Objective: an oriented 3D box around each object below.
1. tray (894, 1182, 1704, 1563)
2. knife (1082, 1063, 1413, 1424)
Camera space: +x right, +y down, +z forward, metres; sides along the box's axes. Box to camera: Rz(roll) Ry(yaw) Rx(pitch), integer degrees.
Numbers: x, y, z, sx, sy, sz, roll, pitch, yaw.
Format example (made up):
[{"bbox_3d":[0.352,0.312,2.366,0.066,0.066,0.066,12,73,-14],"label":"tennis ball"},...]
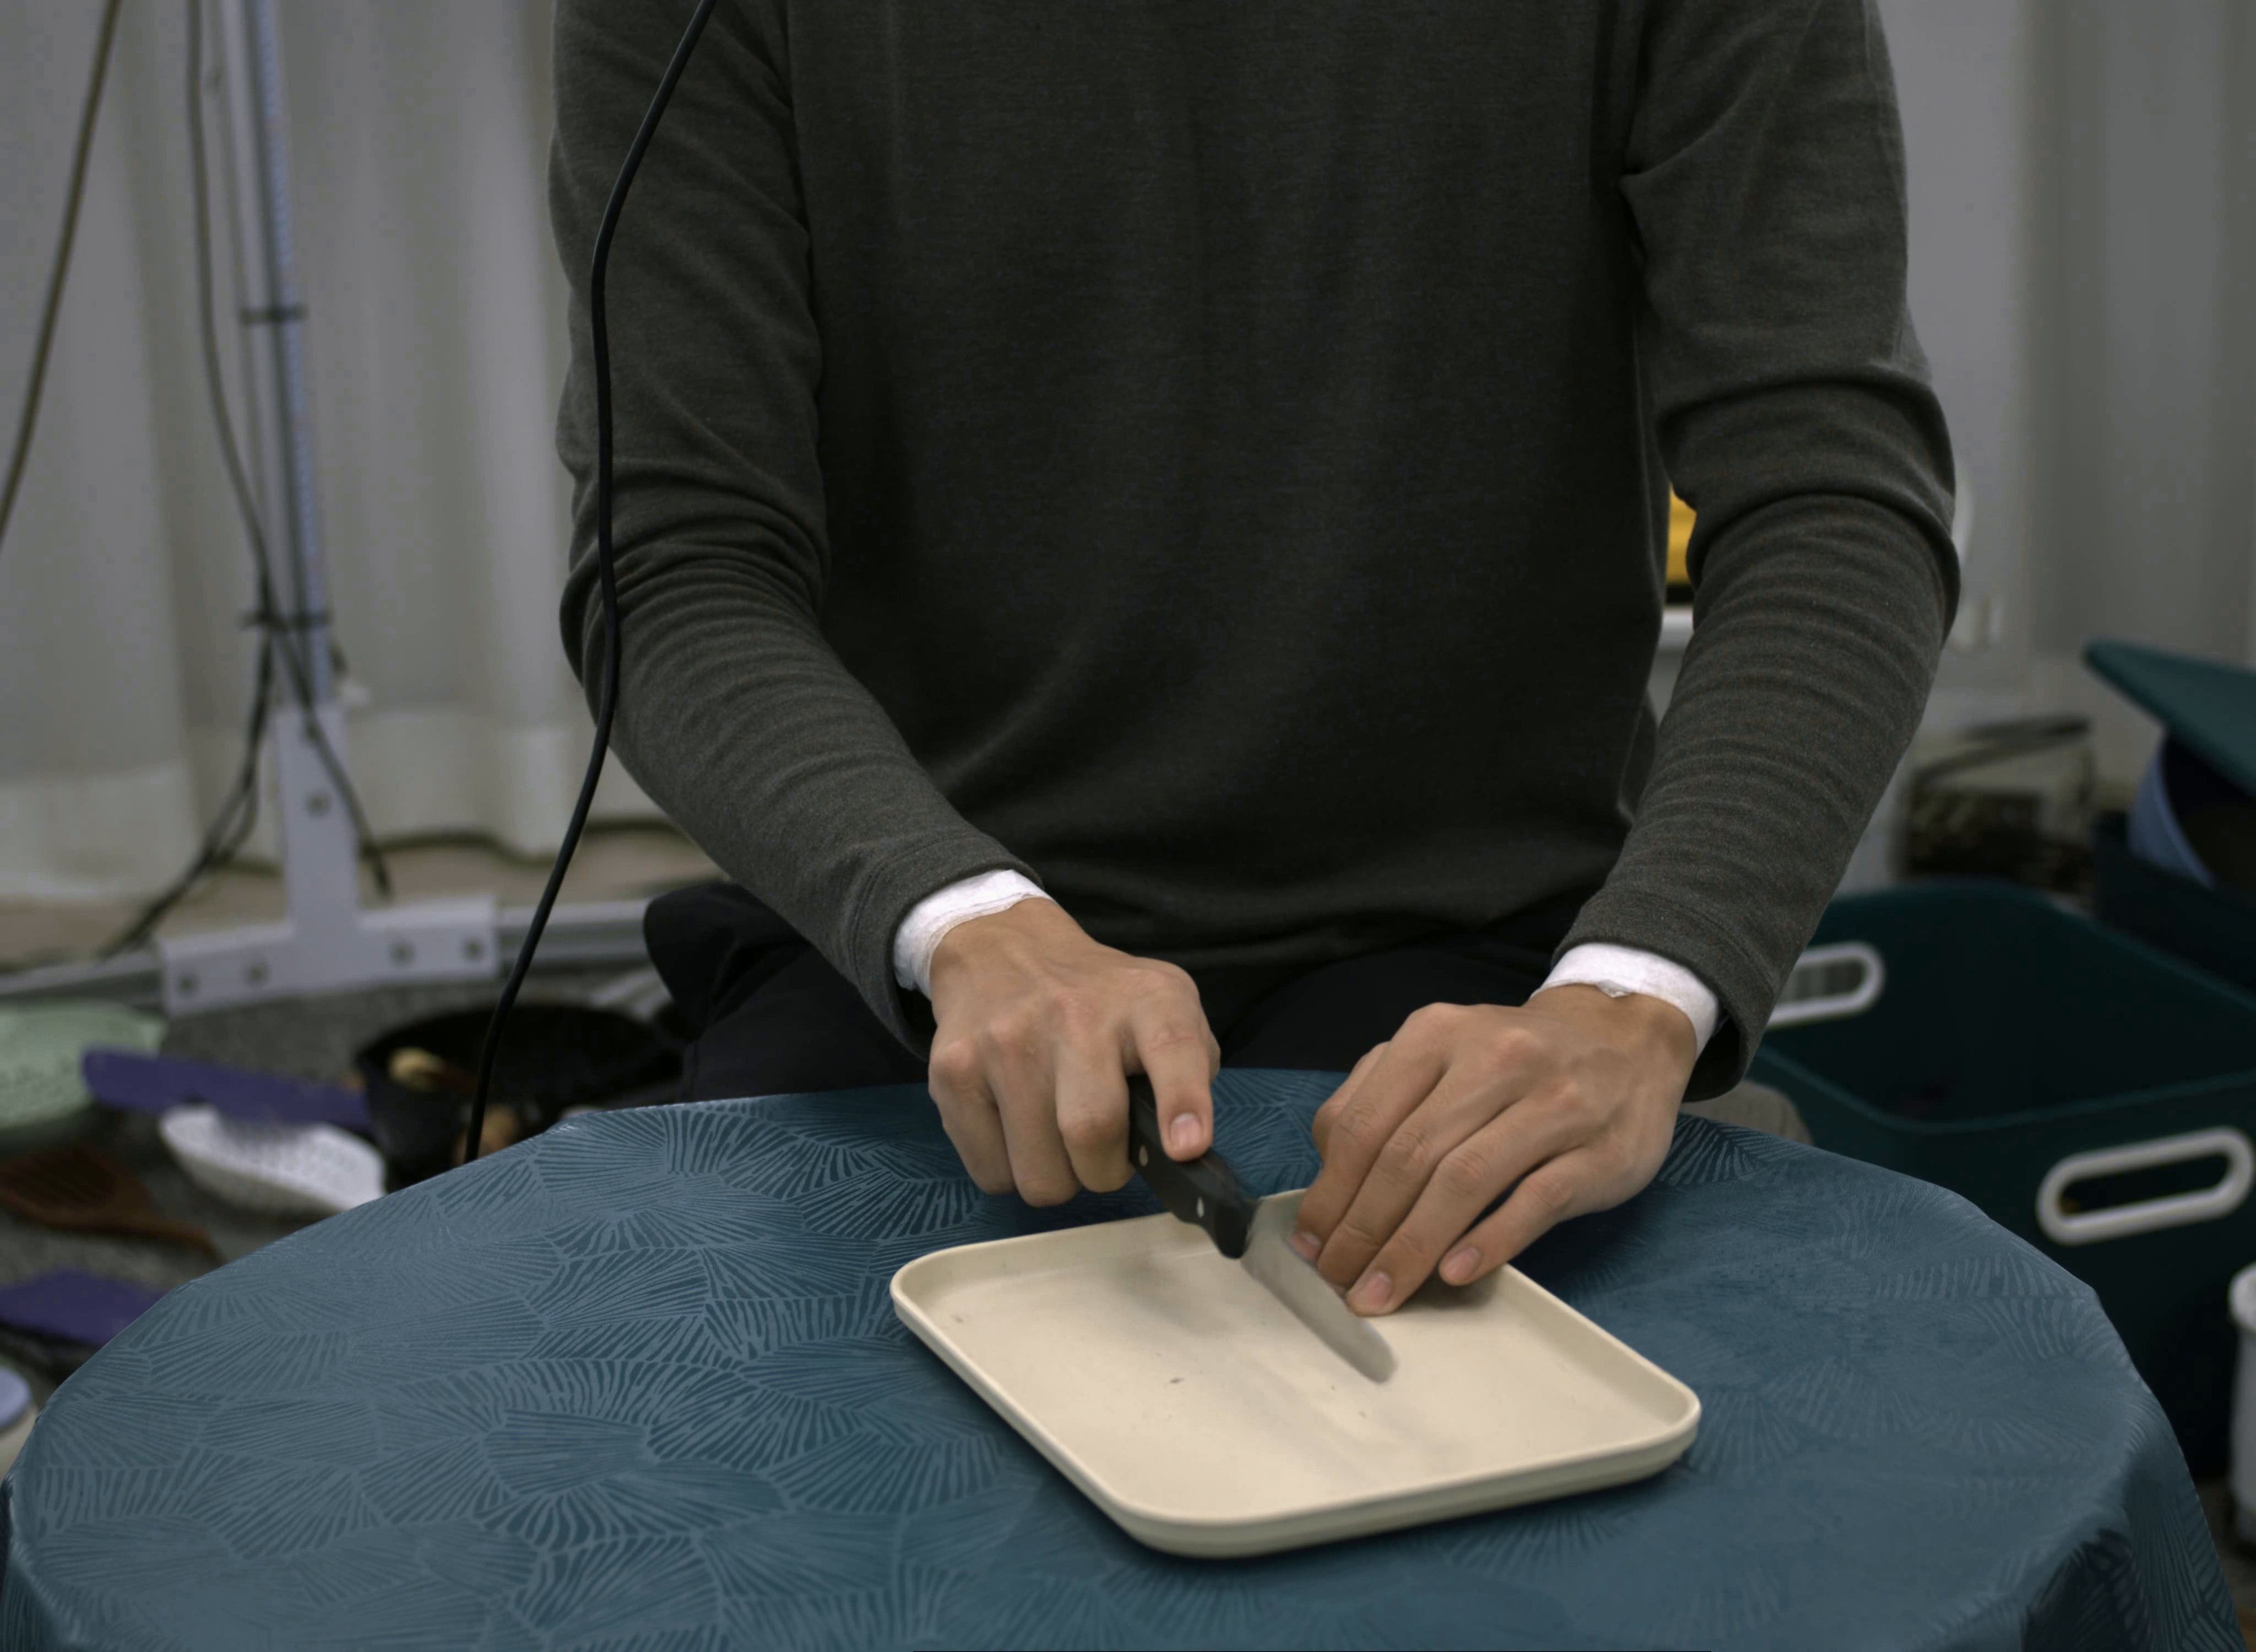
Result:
[{"bbox_3d":[0.044,0.151,1.536,0.170,0.017,0.241,-9,16,-19],"label":"tray"},{"bbox_3d":[0.033,0.116,1.557,0.016,0.024,0.240,-6,21,-20],"label":"knife"}]
